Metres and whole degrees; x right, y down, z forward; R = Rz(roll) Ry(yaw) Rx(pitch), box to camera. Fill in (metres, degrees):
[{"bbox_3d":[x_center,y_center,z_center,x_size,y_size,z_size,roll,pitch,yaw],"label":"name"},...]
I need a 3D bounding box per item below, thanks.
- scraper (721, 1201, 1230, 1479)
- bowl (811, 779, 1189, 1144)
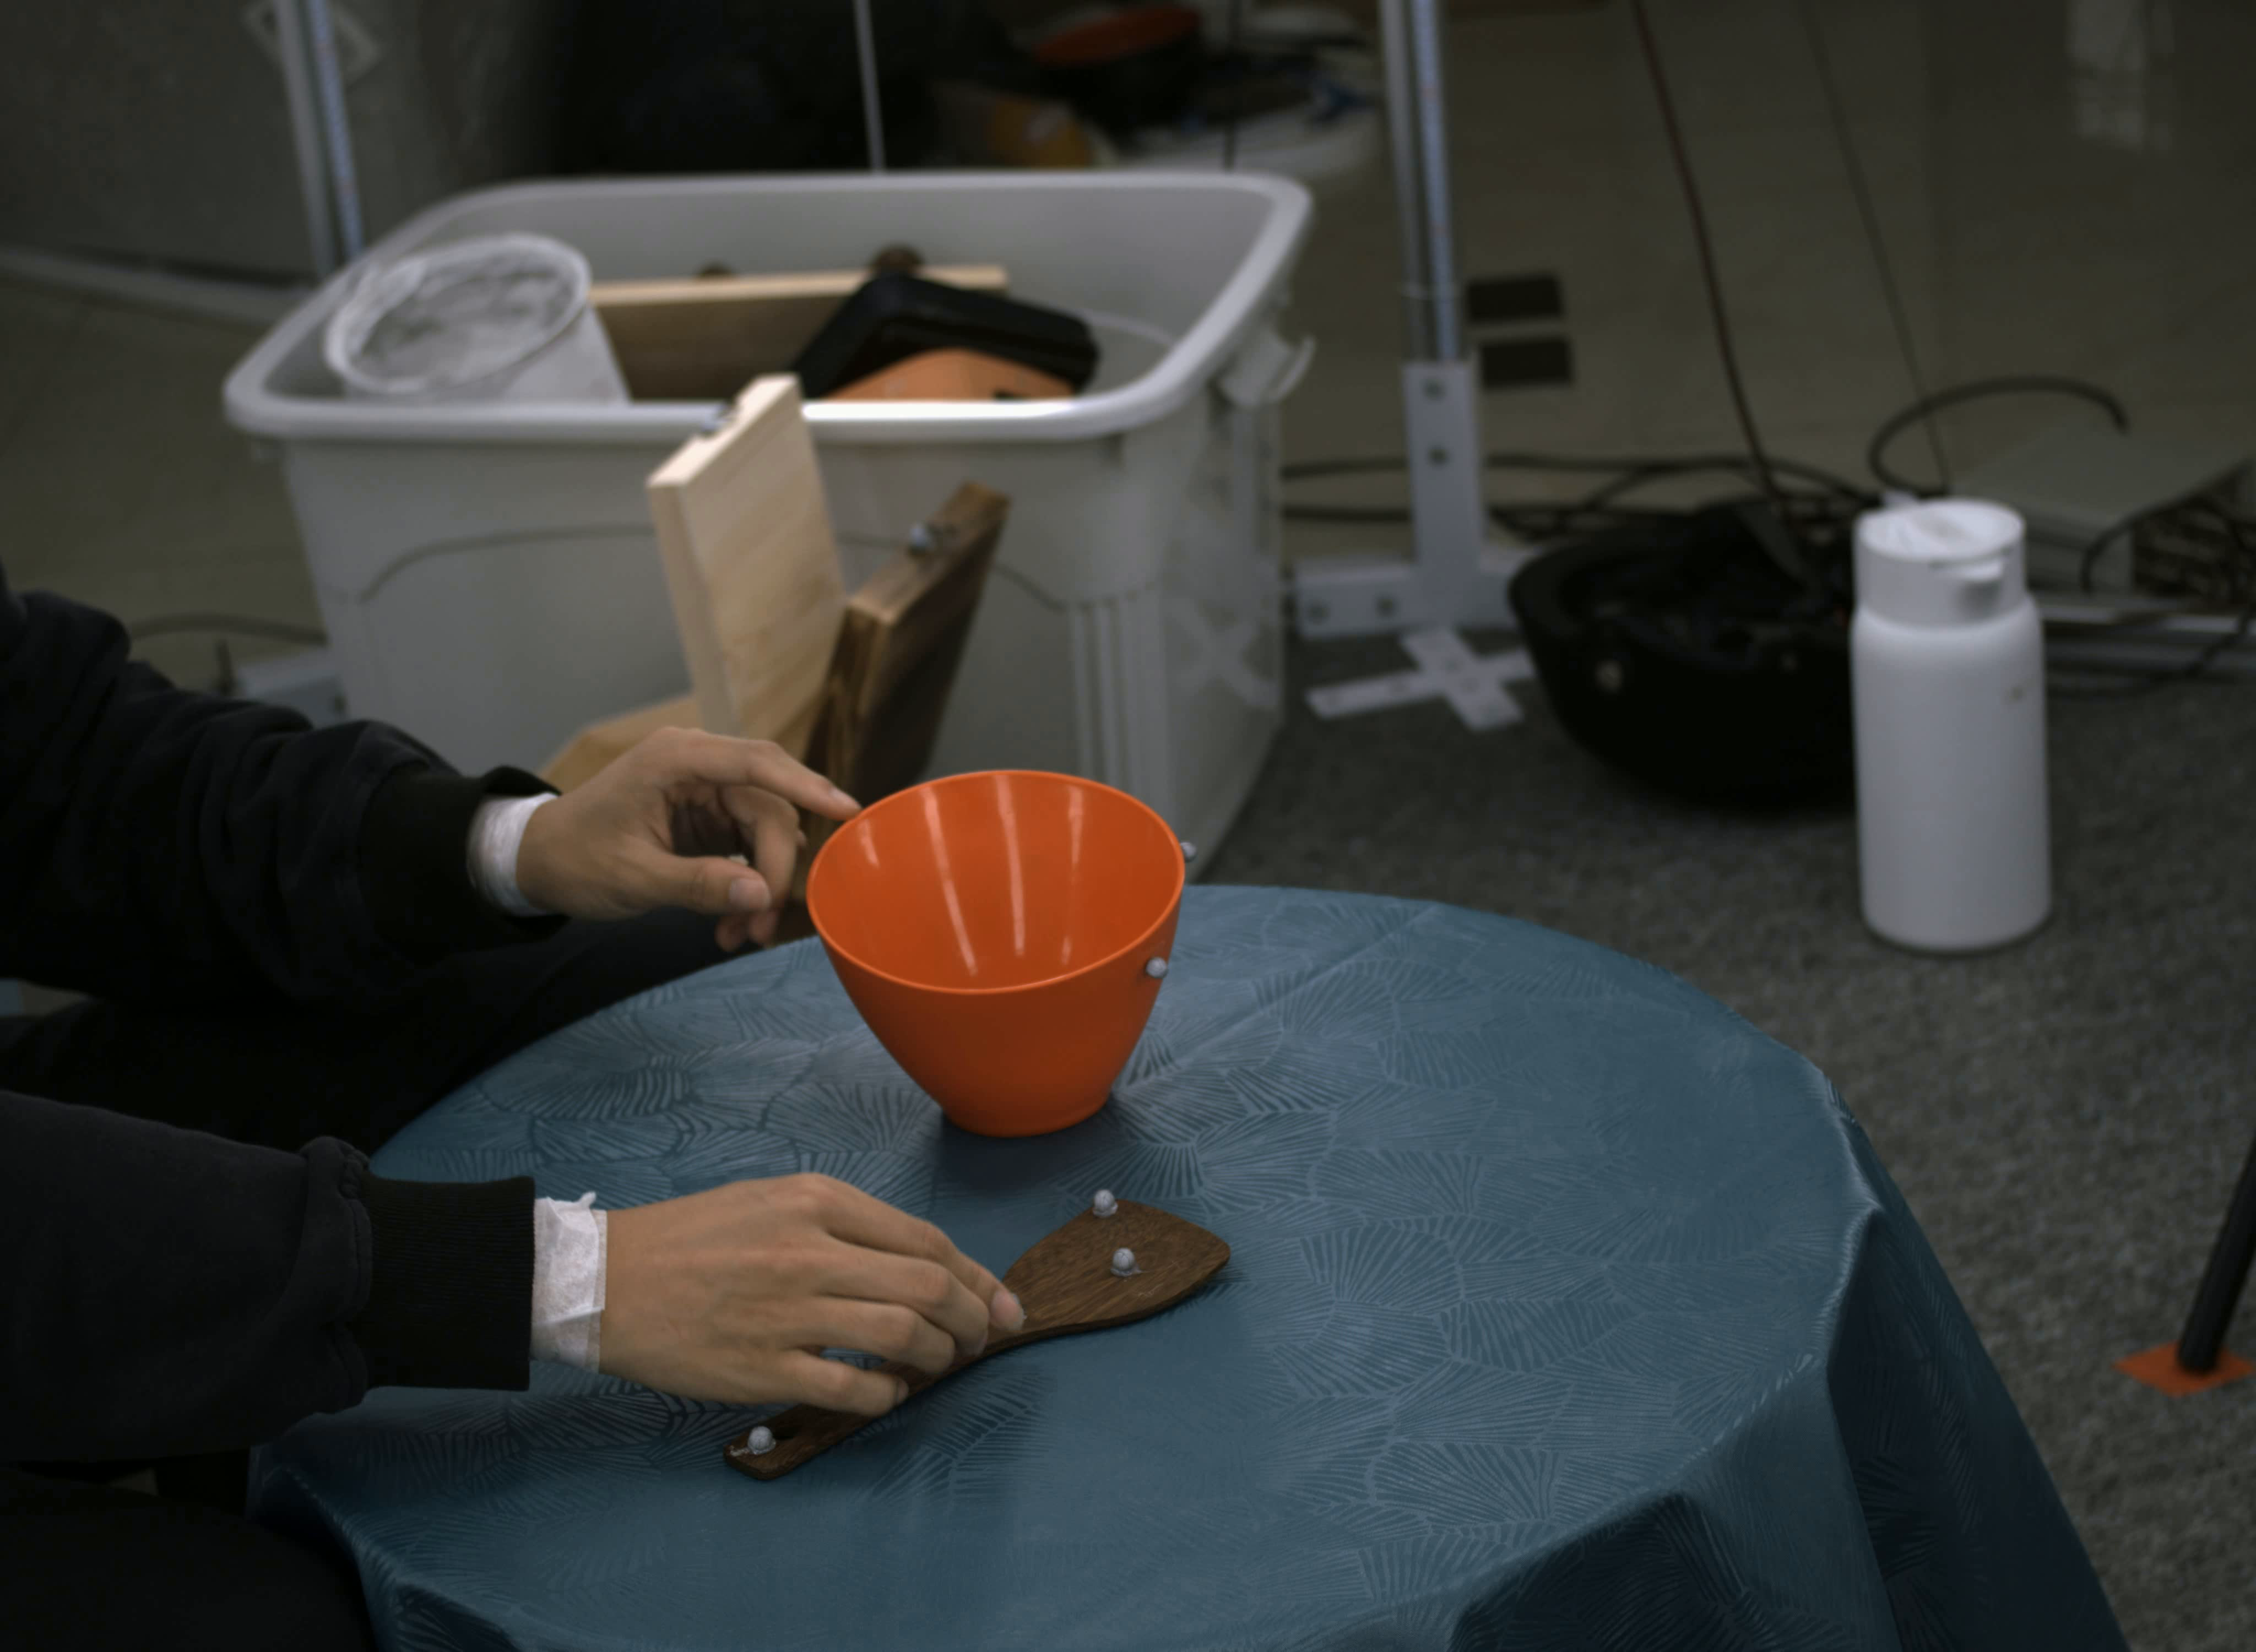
[{"bbox_3d":[-0.059,0.188,2.053,0.209,0.011,0.075,-25,30,-34],"label":"scraper"},{"bbox_3d":[-0.046,0.059,2.216,0.148,0.106,0.146,-5,25,3],"label":"bowl"}]
